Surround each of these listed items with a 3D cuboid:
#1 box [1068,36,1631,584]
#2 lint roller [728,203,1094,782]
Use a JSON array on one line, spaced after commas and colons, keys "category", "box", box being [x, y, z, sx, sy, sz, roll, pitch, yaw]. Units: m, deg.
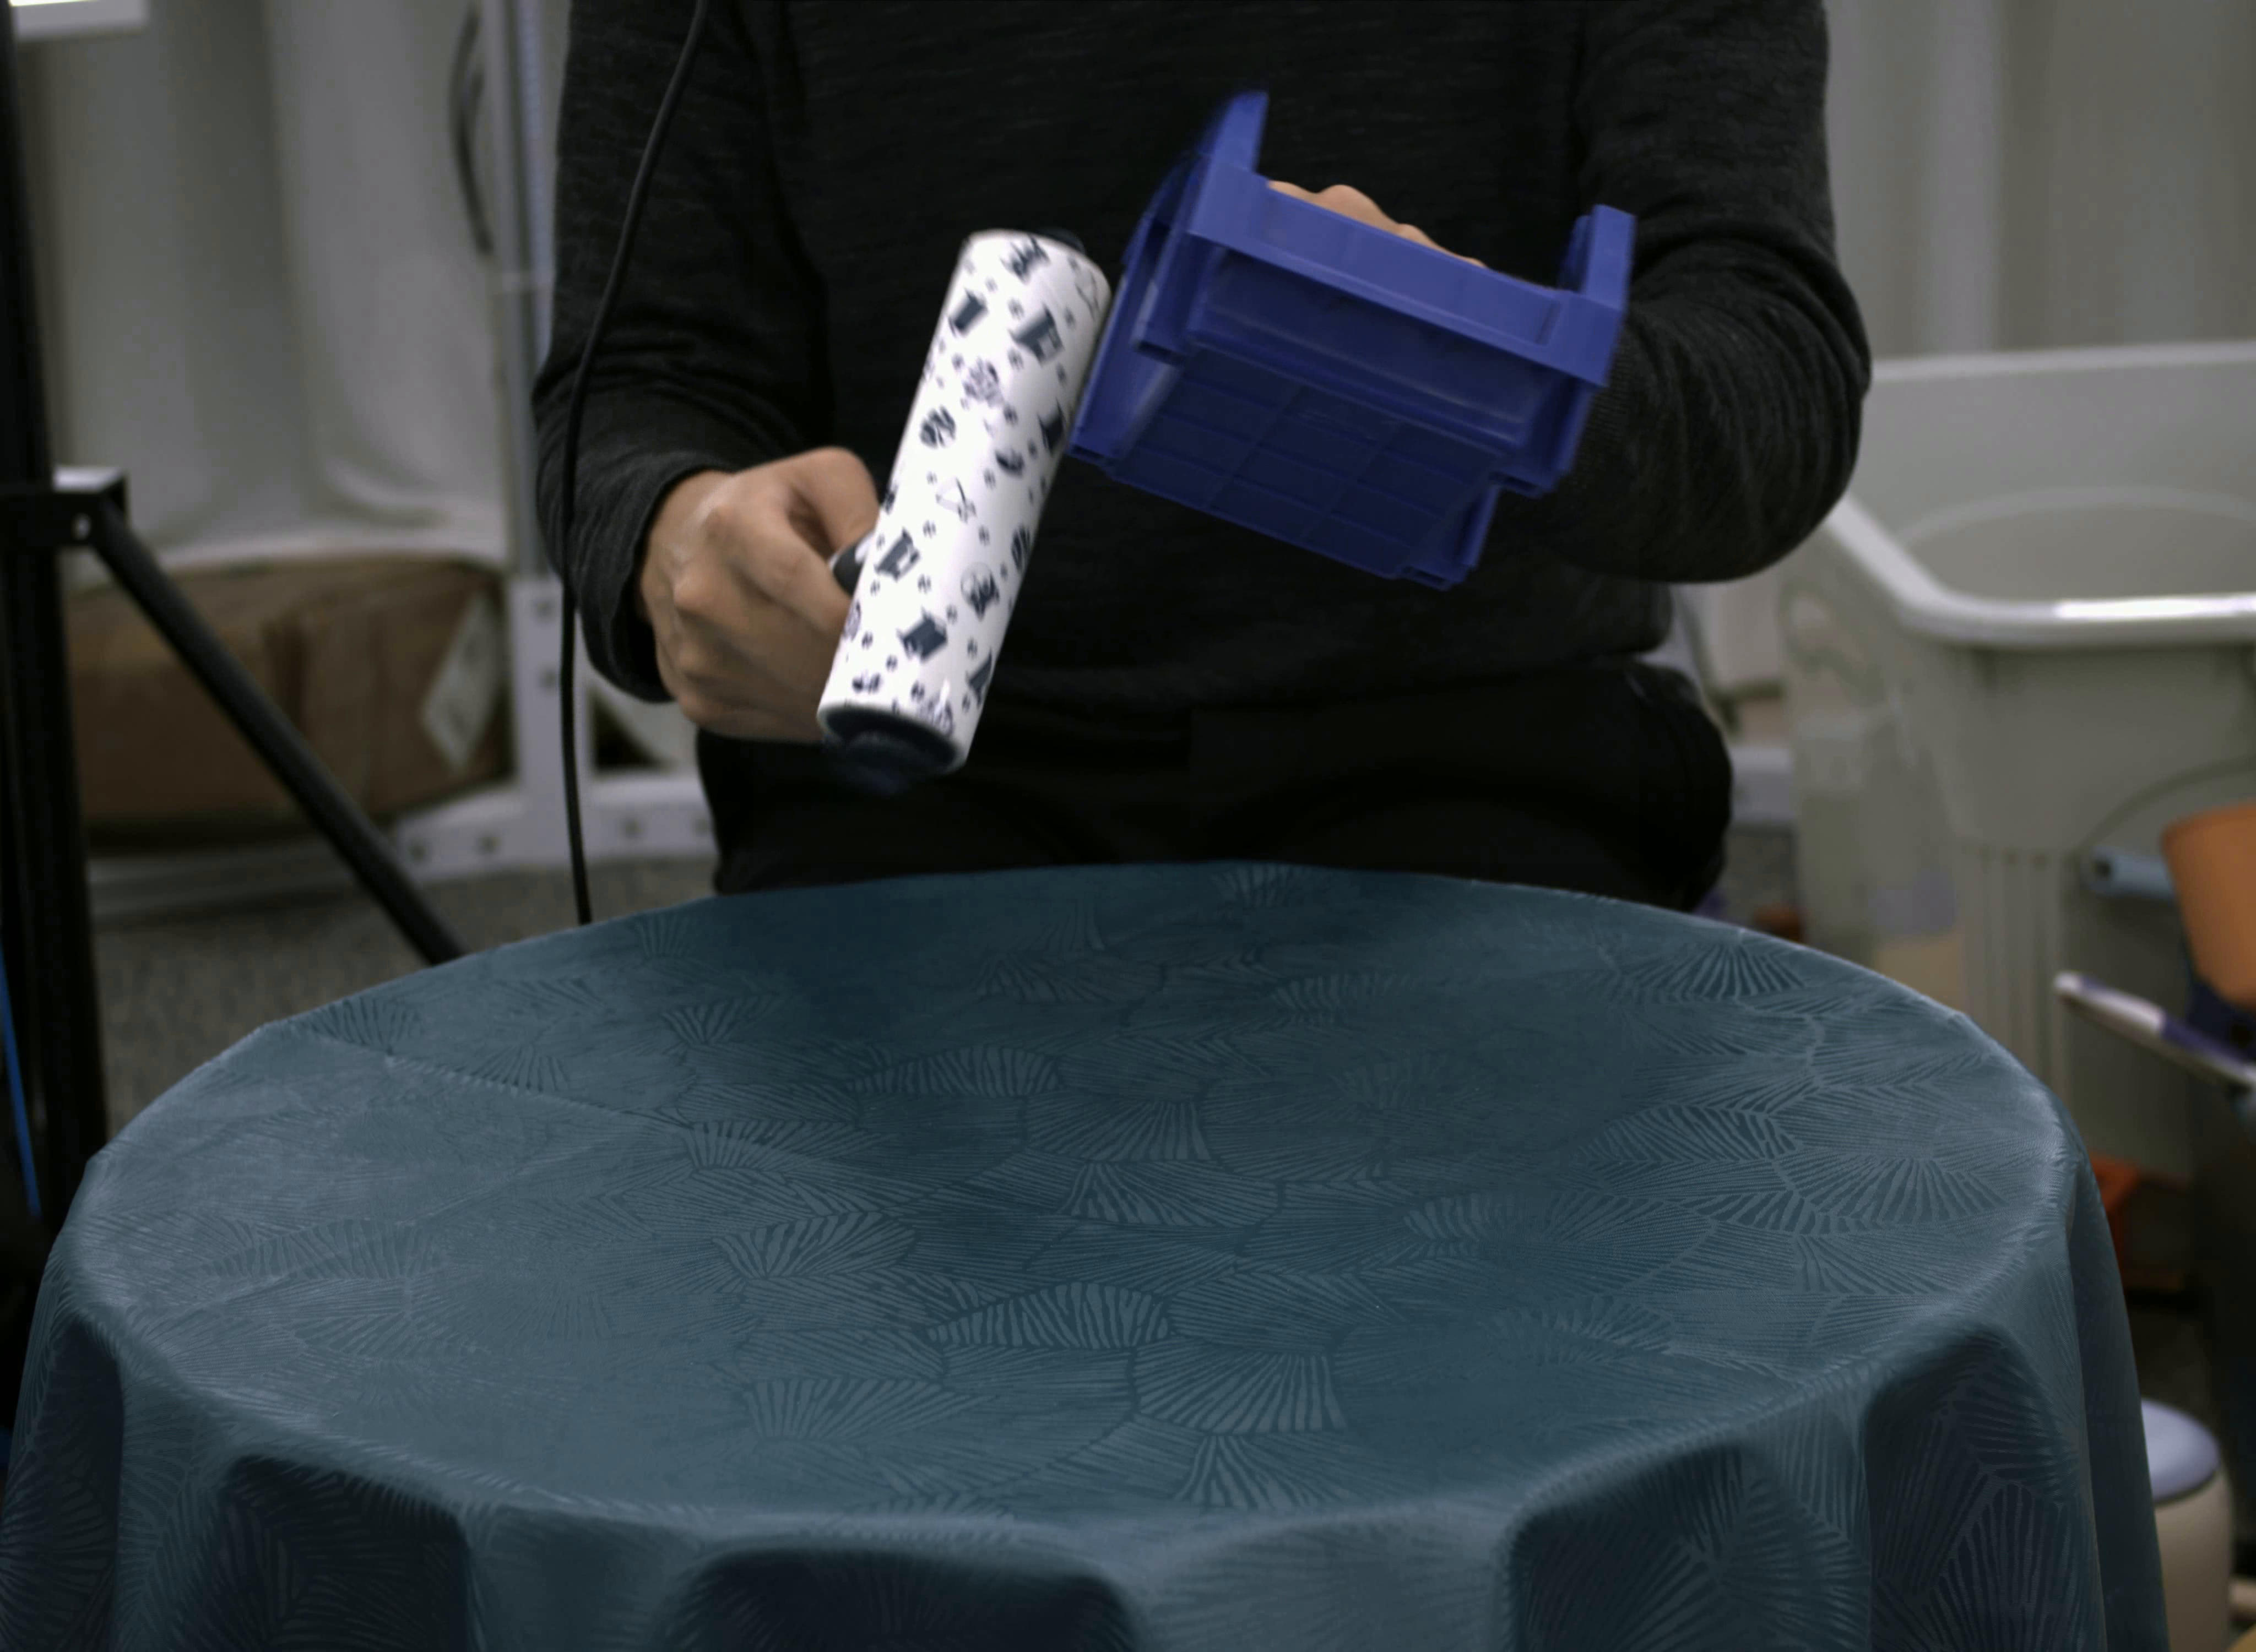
[{"category": "box", "box": [0.063, -0.143, 1.497, 0.124, 0.082, 0.180, 21, -18, -3]}, {"category": "lint roller", "box": [-0.088, -0.078, 1.693, 0.049, 0.177, 0.250, 20, -21, -17]}]
